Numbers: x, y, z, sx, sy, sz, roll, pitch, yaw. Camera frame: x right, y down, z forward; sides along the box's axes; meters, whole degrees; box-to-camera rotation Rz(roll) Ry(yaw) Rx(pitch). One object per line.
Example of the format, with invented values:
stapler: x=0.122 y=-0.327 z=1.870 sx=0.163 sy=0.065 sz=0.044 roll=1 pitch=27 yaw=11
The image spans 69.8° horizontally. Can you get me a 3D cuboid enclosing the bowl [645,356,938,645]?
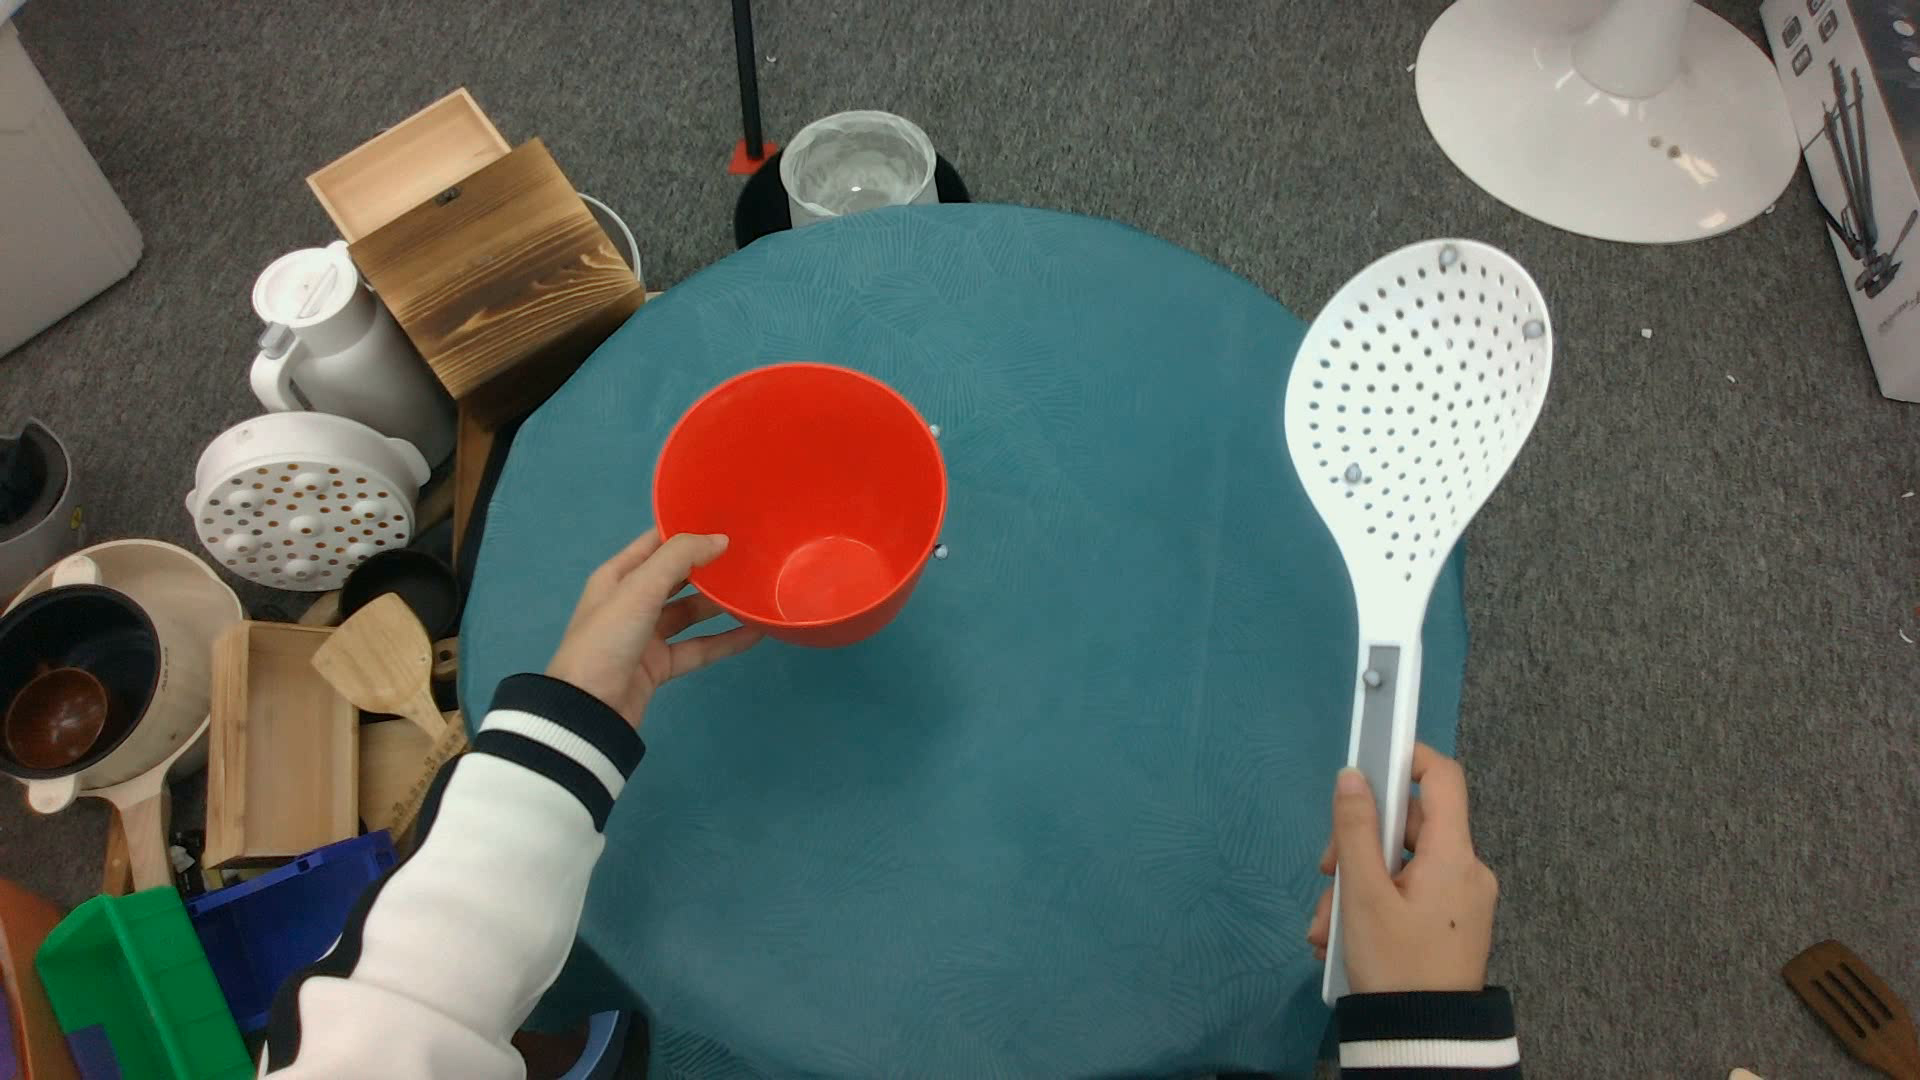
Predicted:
bowl: x=-0.084 y=-0.008 z=0.730 sx=0.148 sy=0.104 sz=0.148 roll=0 pitch=57 yaw=0

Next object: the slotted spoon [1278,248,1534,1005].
slotted spoon: x=0.195 y=0.032 z=0.635 sx=0.046 sy=0.135 sz=0.350 roll=25 pitch=71 yaw=-37
